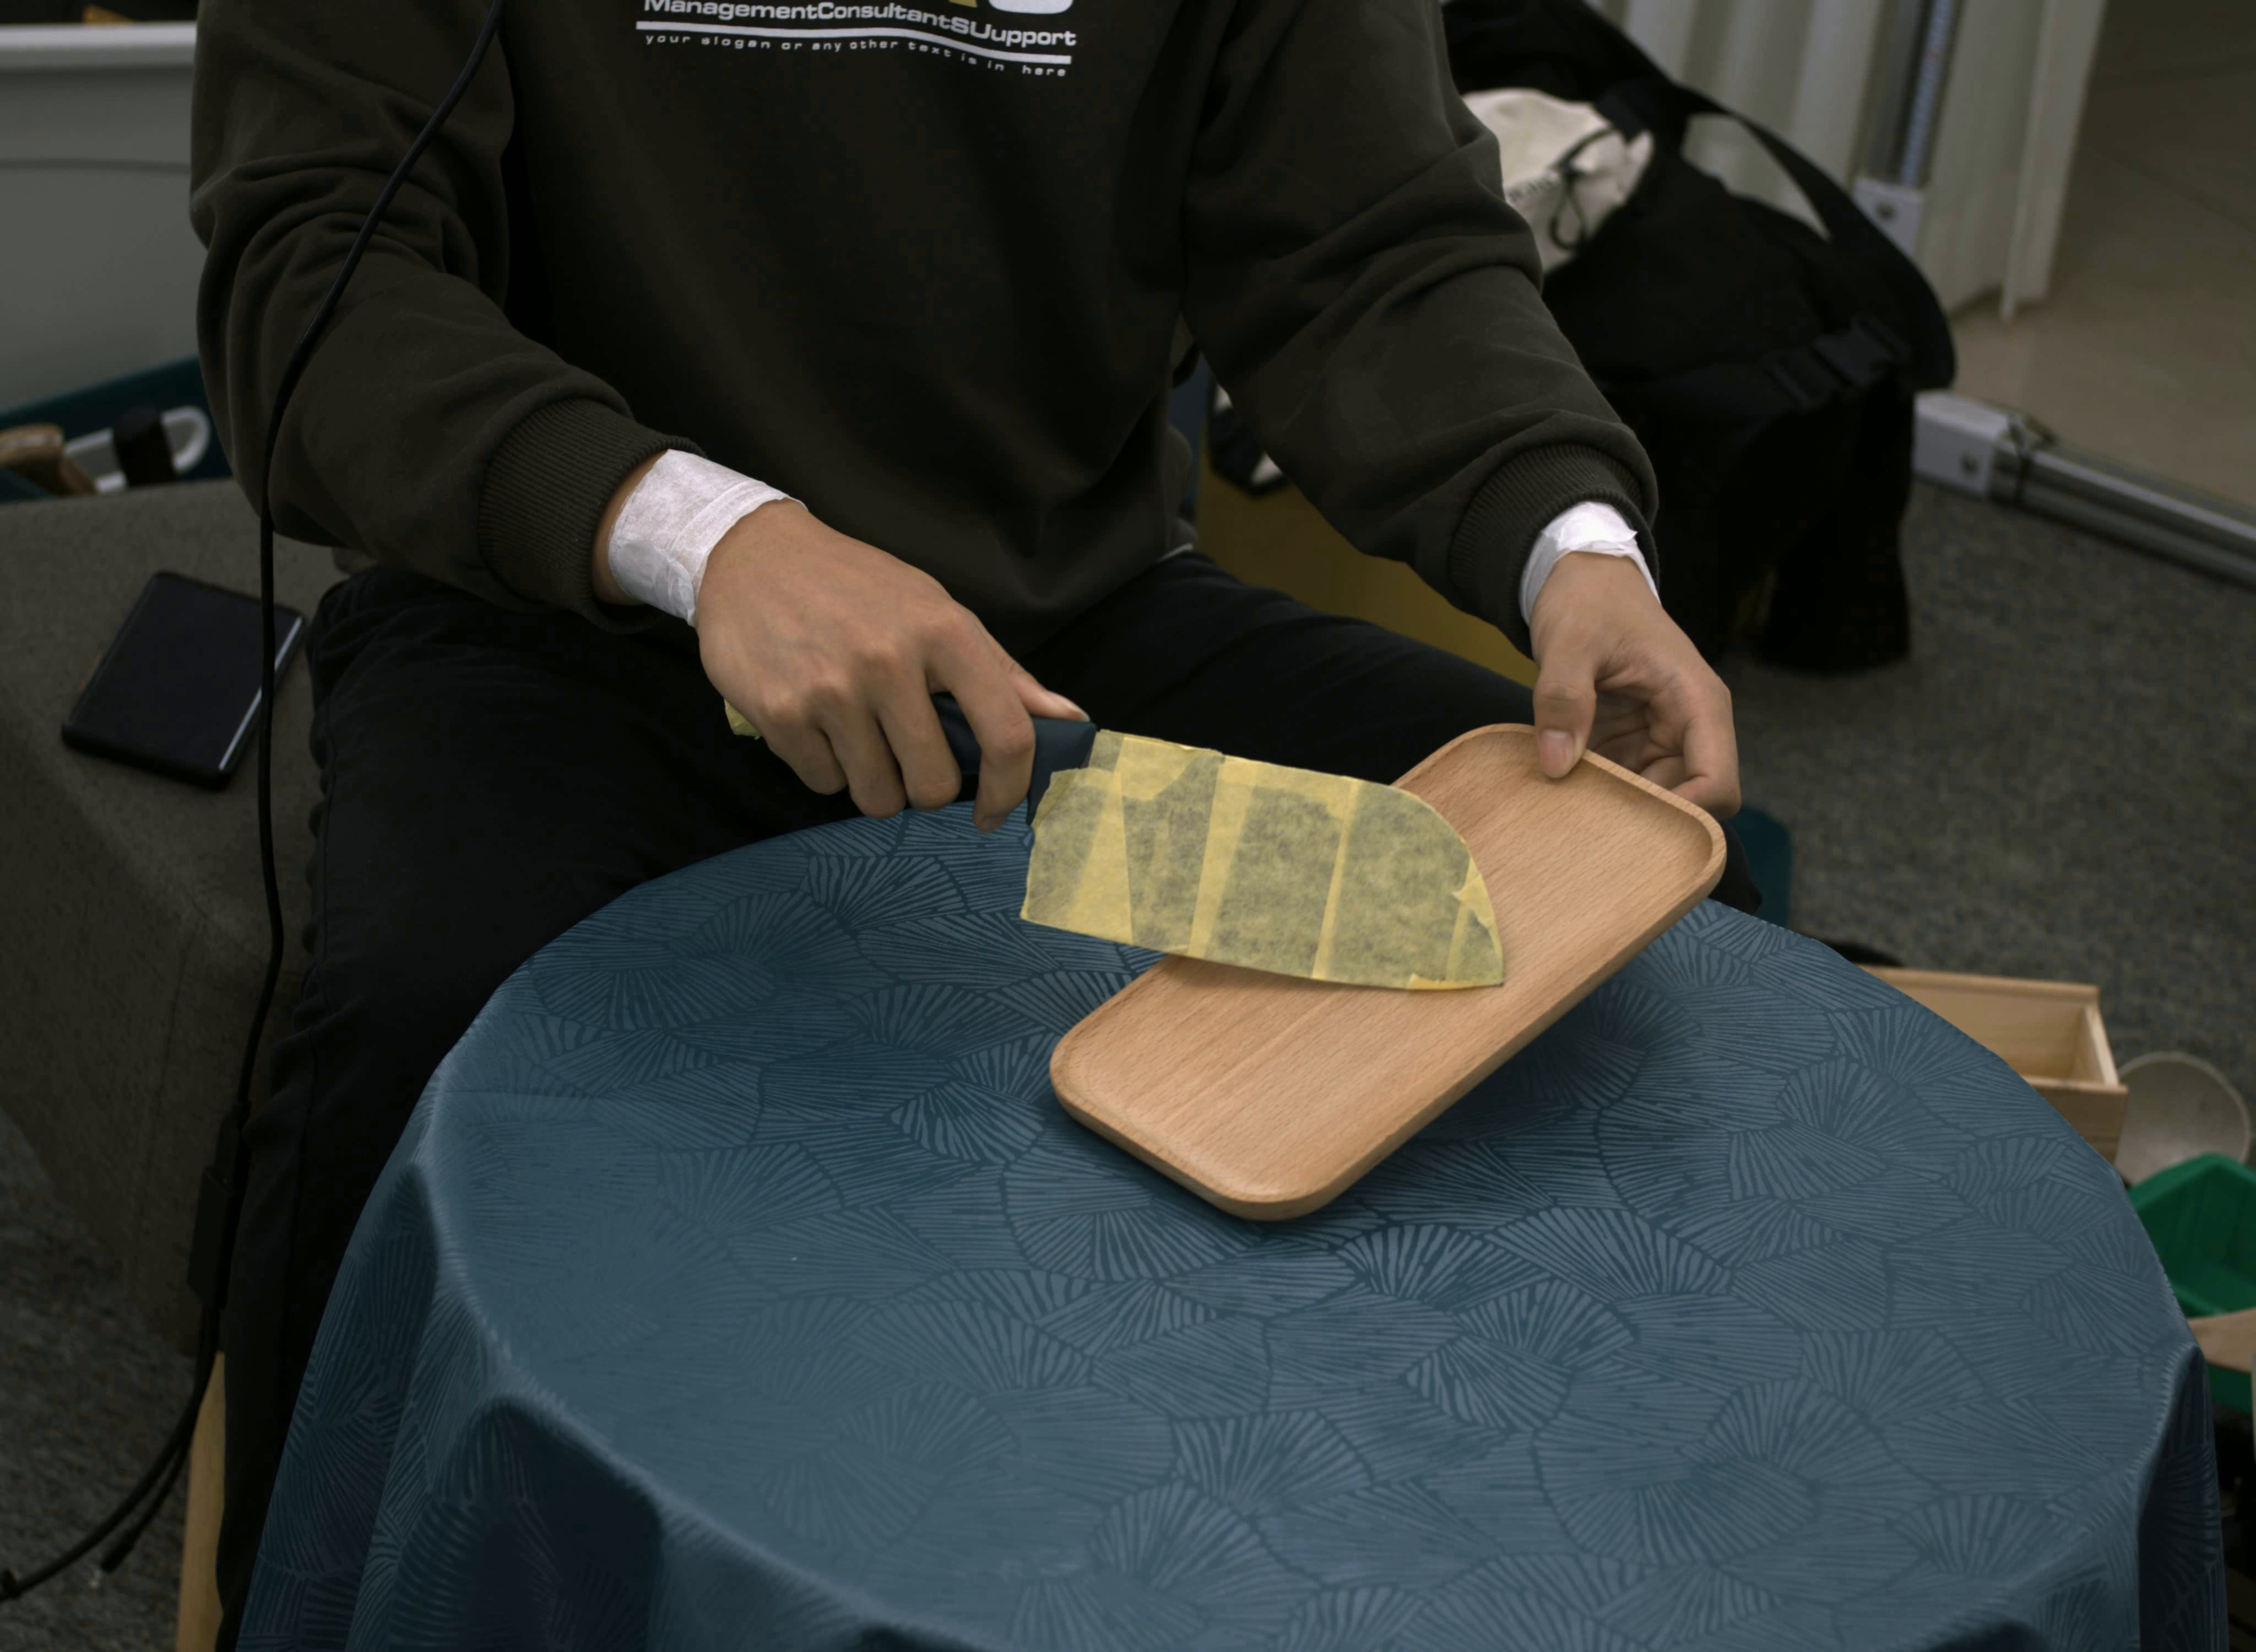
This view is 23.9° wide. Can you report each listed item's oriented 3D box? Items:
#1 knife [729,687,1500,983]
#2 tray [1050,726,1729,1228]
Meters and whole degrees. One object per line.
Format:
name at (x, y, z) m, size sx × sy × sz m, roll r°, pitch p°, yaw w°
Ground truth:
knife at (-0.007, 0.002, 1.883) m, size 0.289 × 0.081 × 0.027 m, roll 14°, pitch -5°, yaw 11°
tray at (0.094, 0.051, 1.871) m, size 0.250 × 0.023 × 0.131 m, roll -37°, pitch 44°, yaw -28°
